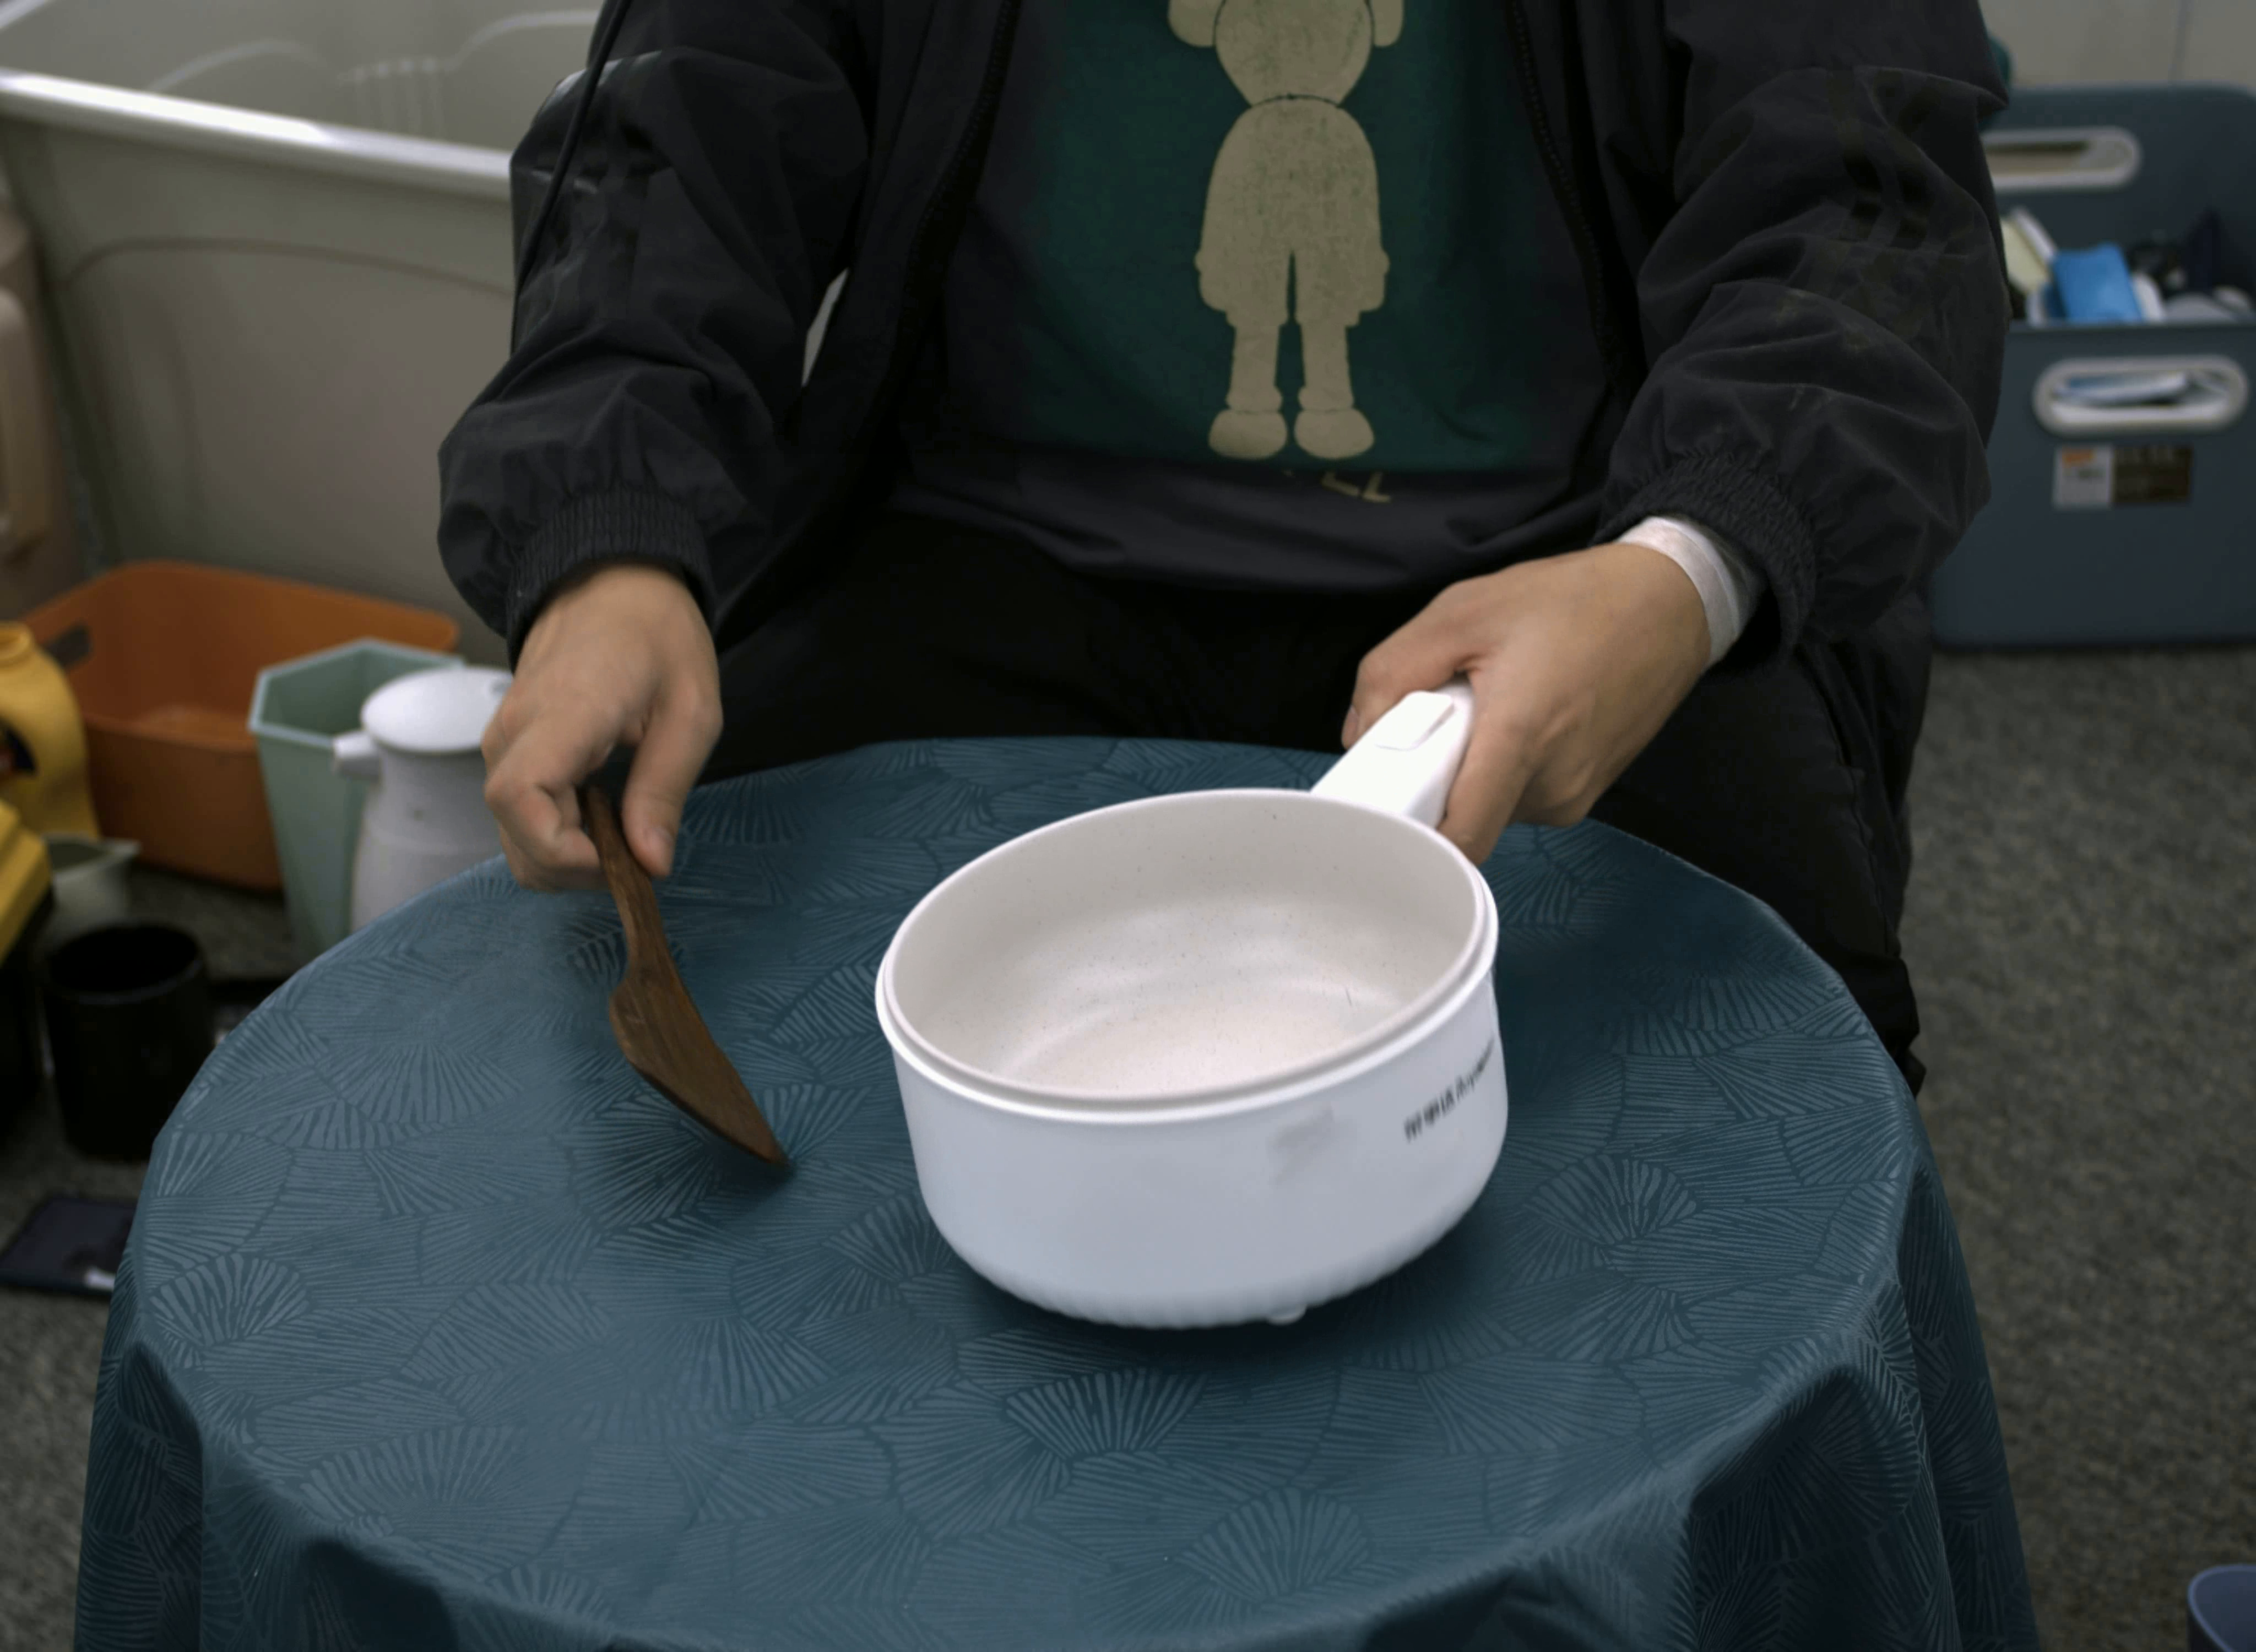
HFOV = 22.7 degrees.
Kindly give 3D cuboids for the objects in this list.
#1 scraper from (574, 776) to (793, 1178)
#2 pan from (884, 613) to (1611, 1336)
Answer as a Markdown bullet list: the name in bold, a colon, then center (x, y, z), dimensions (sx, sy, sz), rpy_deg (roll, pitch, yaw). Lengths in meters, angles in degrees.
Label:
- **scraper**: center (-0.162, 0.046, 1.930), dimensions (0.011, 0.075, 0.214), rpy_deg (-41, 36, 11)
- **pan**: center (0.065, 0.047, 1.869), dimensions (0.200, 0.101, 0.360), rpy_deg (9, 31, 30)
